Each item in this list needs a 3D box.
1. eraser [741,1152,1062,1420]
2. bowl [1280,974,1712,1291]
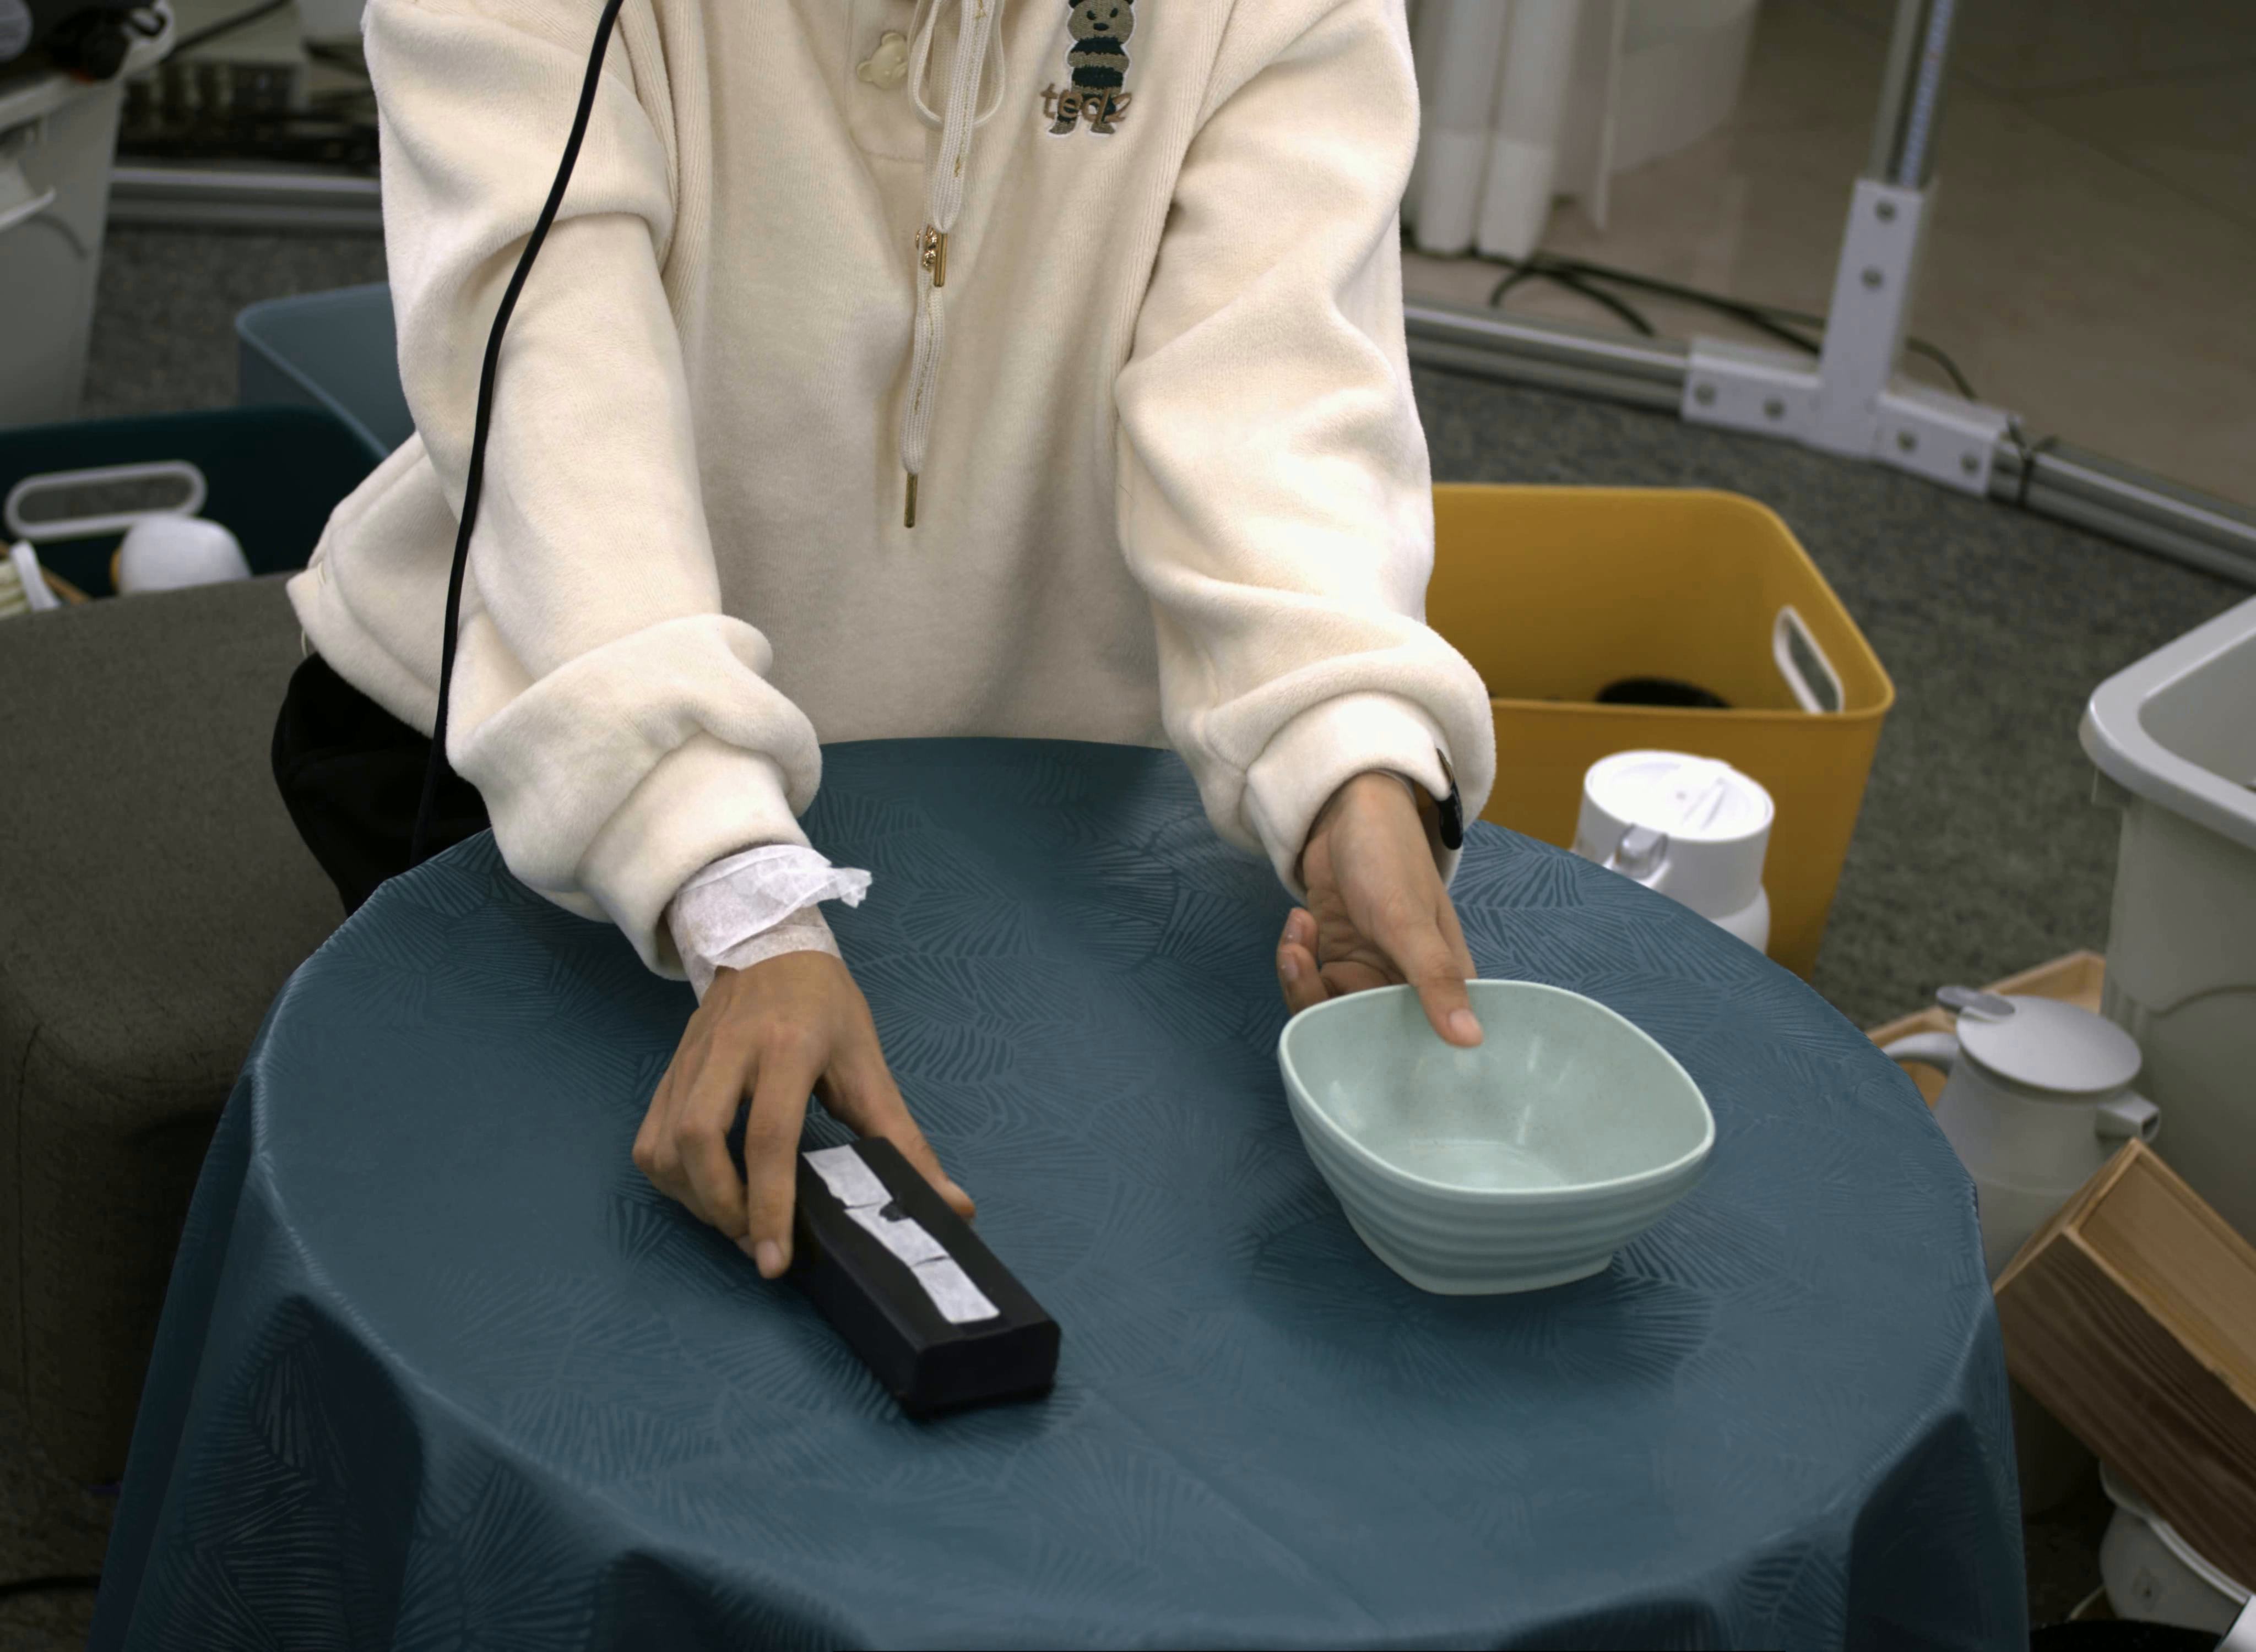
[{"bbox_3d":[-0.074,0.147,1.711,0.053,0.030,0.126,-8,28,-30],"label":"eraser"},{"bbox_3d":[0.119,0.109,1.792,0.151,0.058,0.152,8,27,-4],"label":"bowl"}]
